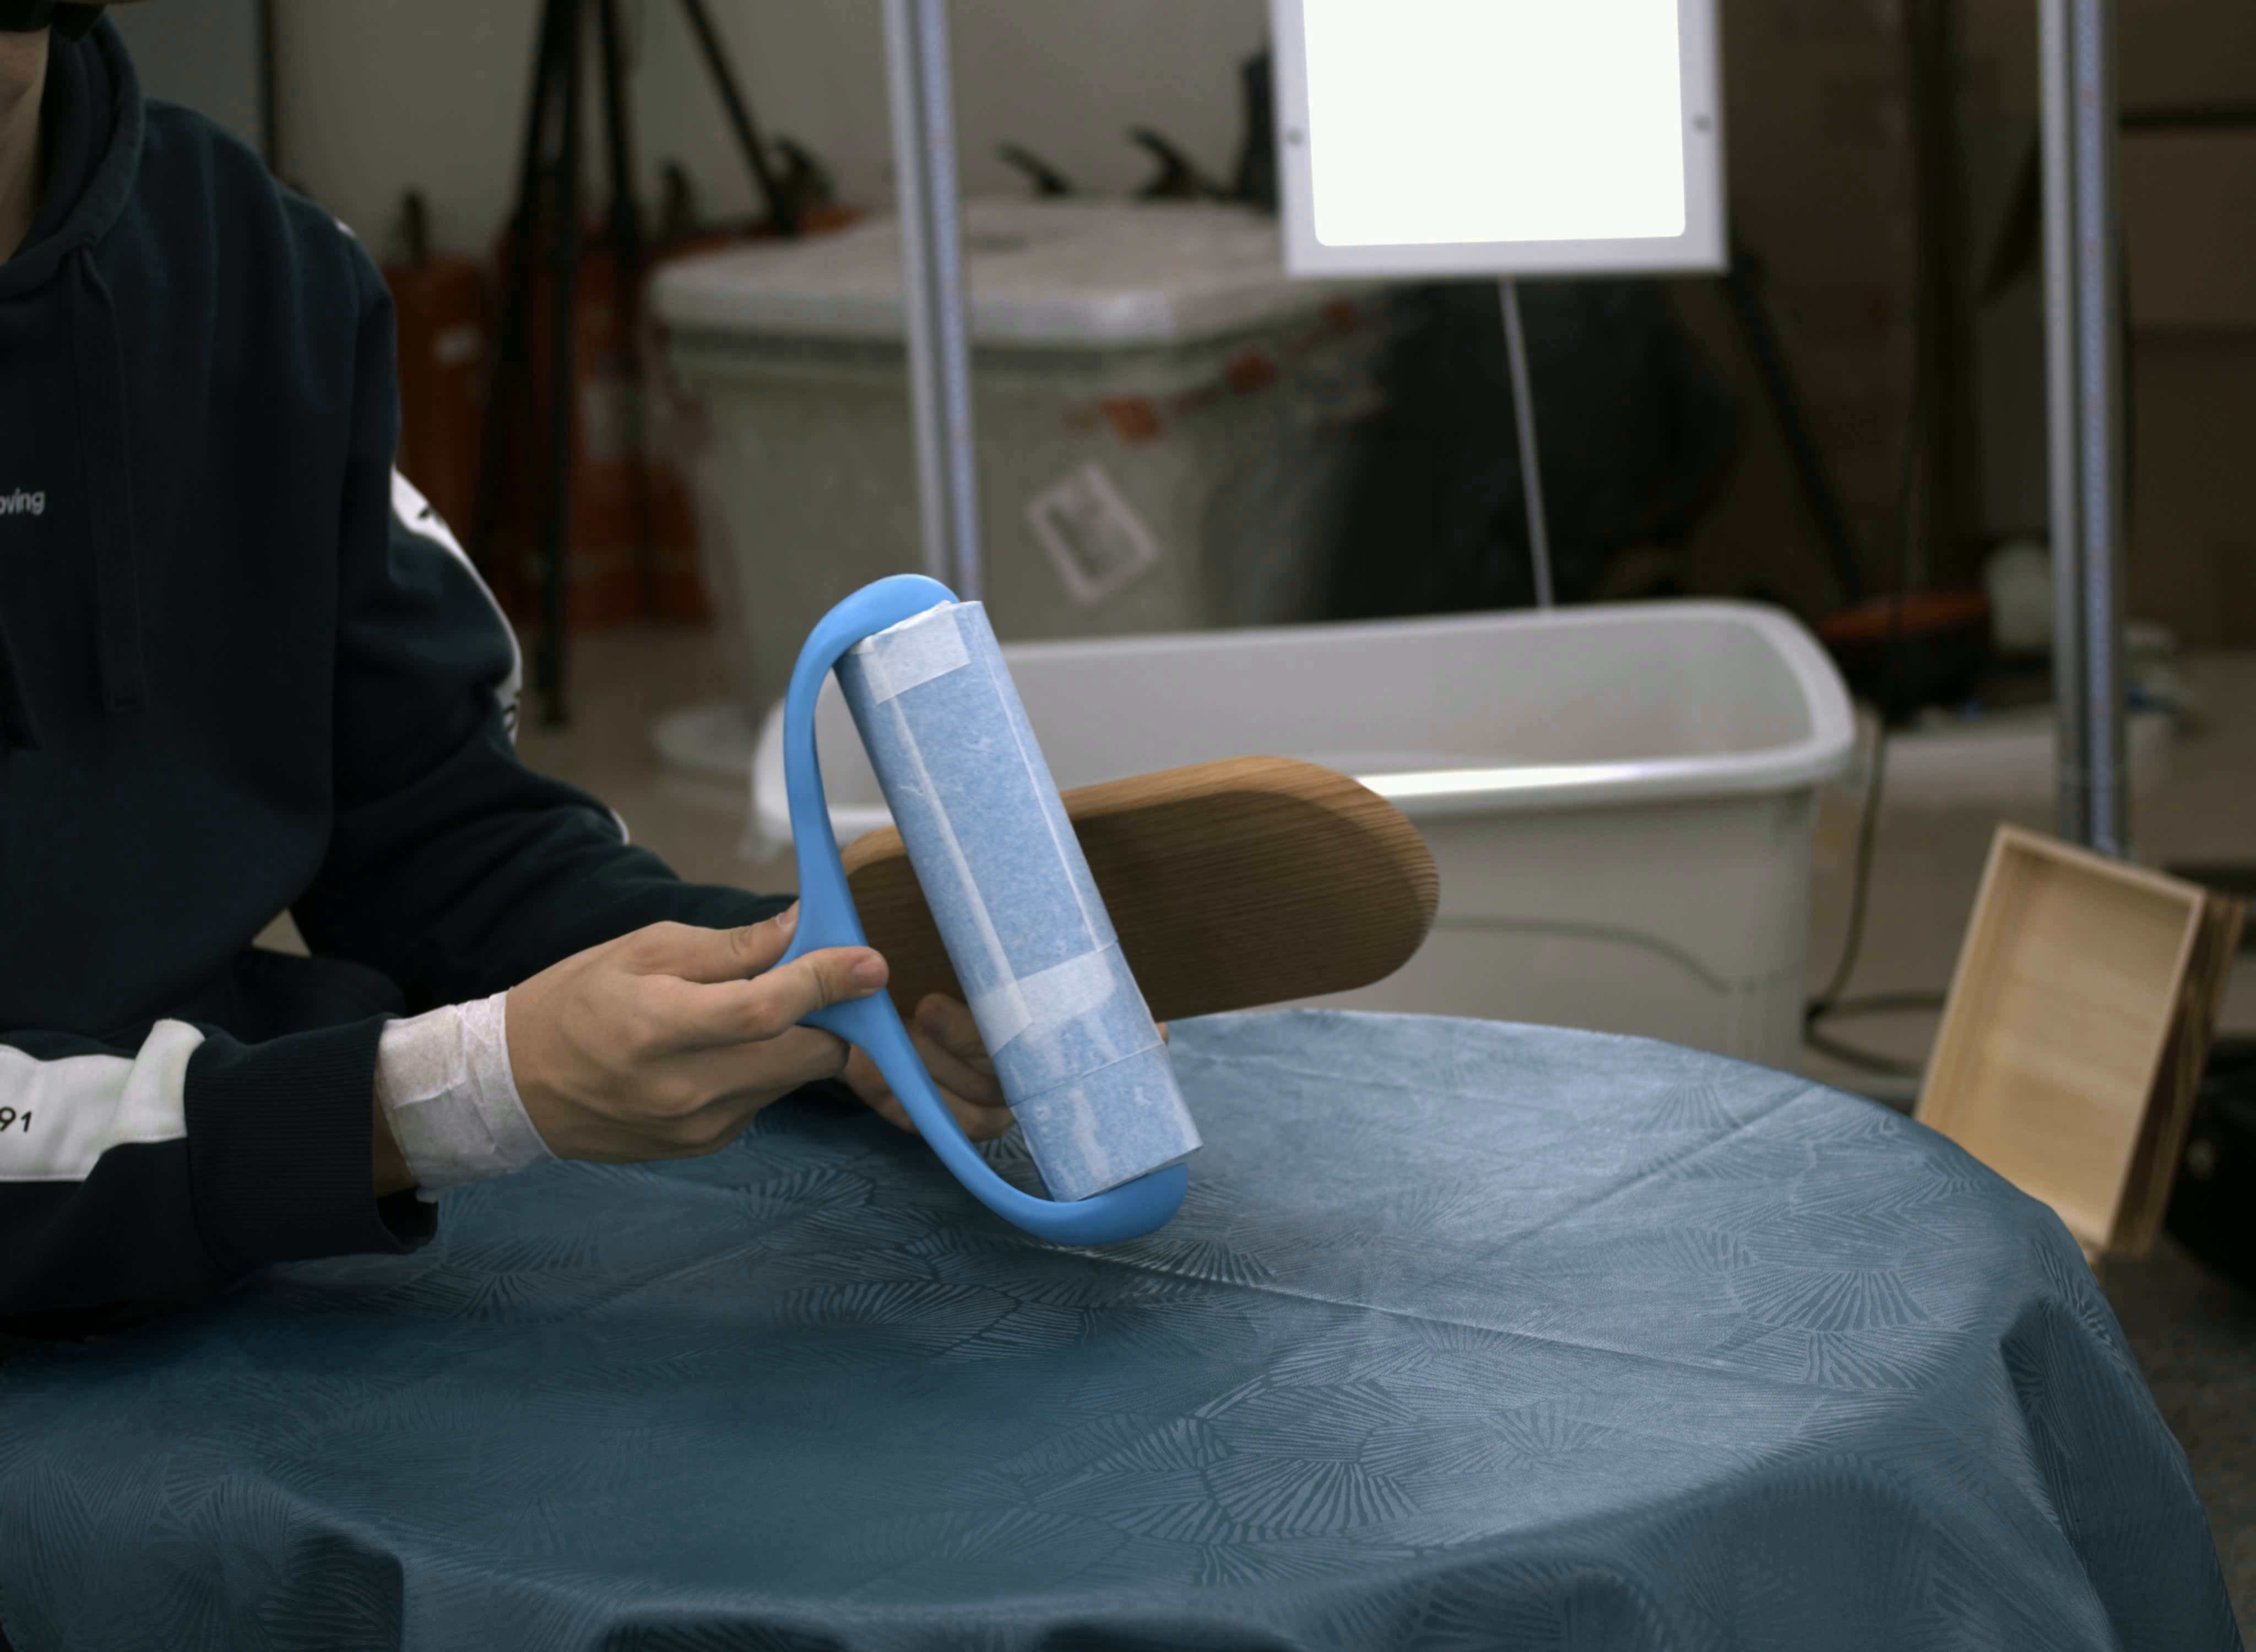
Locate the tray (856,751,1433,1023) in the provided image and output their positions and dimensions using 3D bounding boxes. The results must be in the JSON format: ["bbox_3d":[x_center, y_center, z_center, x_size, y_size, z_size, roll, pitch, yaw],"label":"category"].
[{"bbox_3d":[-0.005,0.028,1.850,0.236,0.101,0.020,-11,35,31],"label":"tray"}]

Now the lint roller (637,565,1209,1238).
[{"bbox_3d":[-0.088,0.049,1.788,0.182,0.229,0.067,-27,-4,16],"label":"lint roller"}]
